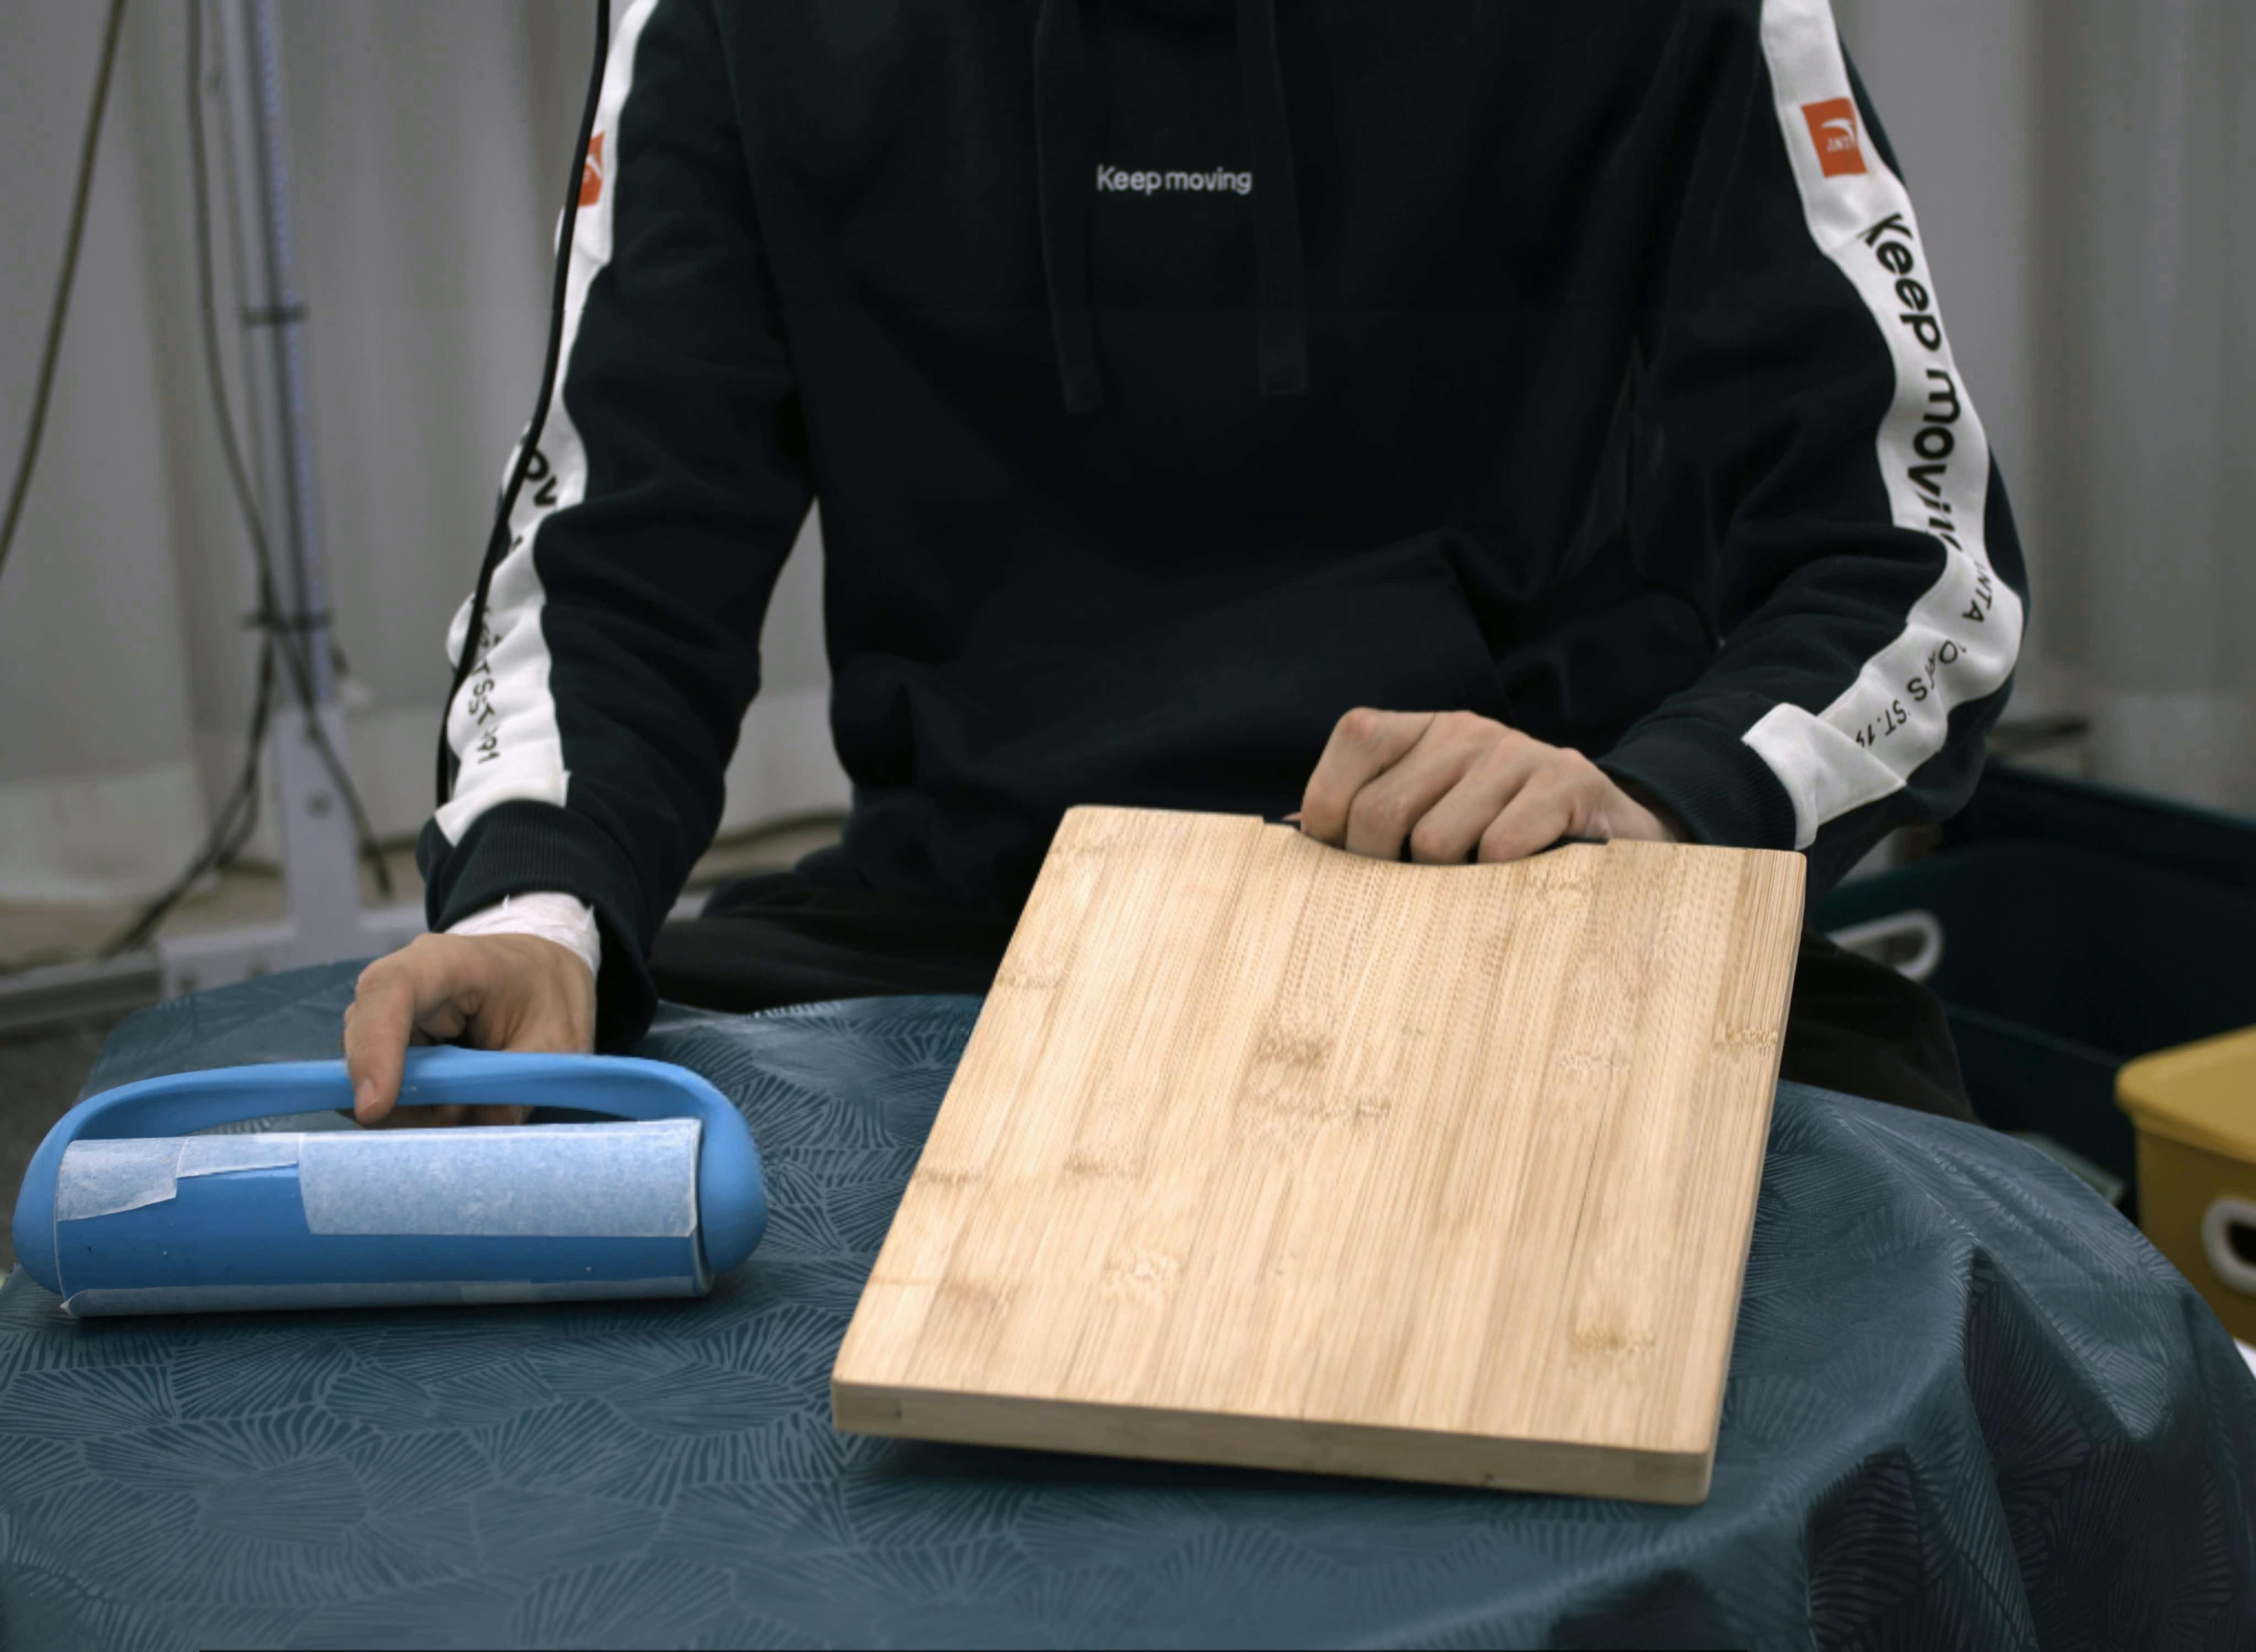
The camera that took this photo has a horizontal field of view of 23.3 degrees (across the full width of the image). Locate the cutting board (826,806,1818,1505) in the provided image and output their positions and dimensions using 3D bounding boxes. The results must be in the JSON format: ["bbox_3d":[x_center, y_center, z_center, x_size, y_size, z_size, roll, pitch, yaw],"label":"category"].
[{"bbox_3d":[0.068,0.087,1.611,0.250,0.023,0.352,3,28,10],"label":"cutting board"}]

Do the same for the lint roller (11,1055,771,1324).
[{"bbox_3d":[-0.221,0.102,1.697,0.228,0.067,0.181,-4,16,1],"label":"lint roller"}]
